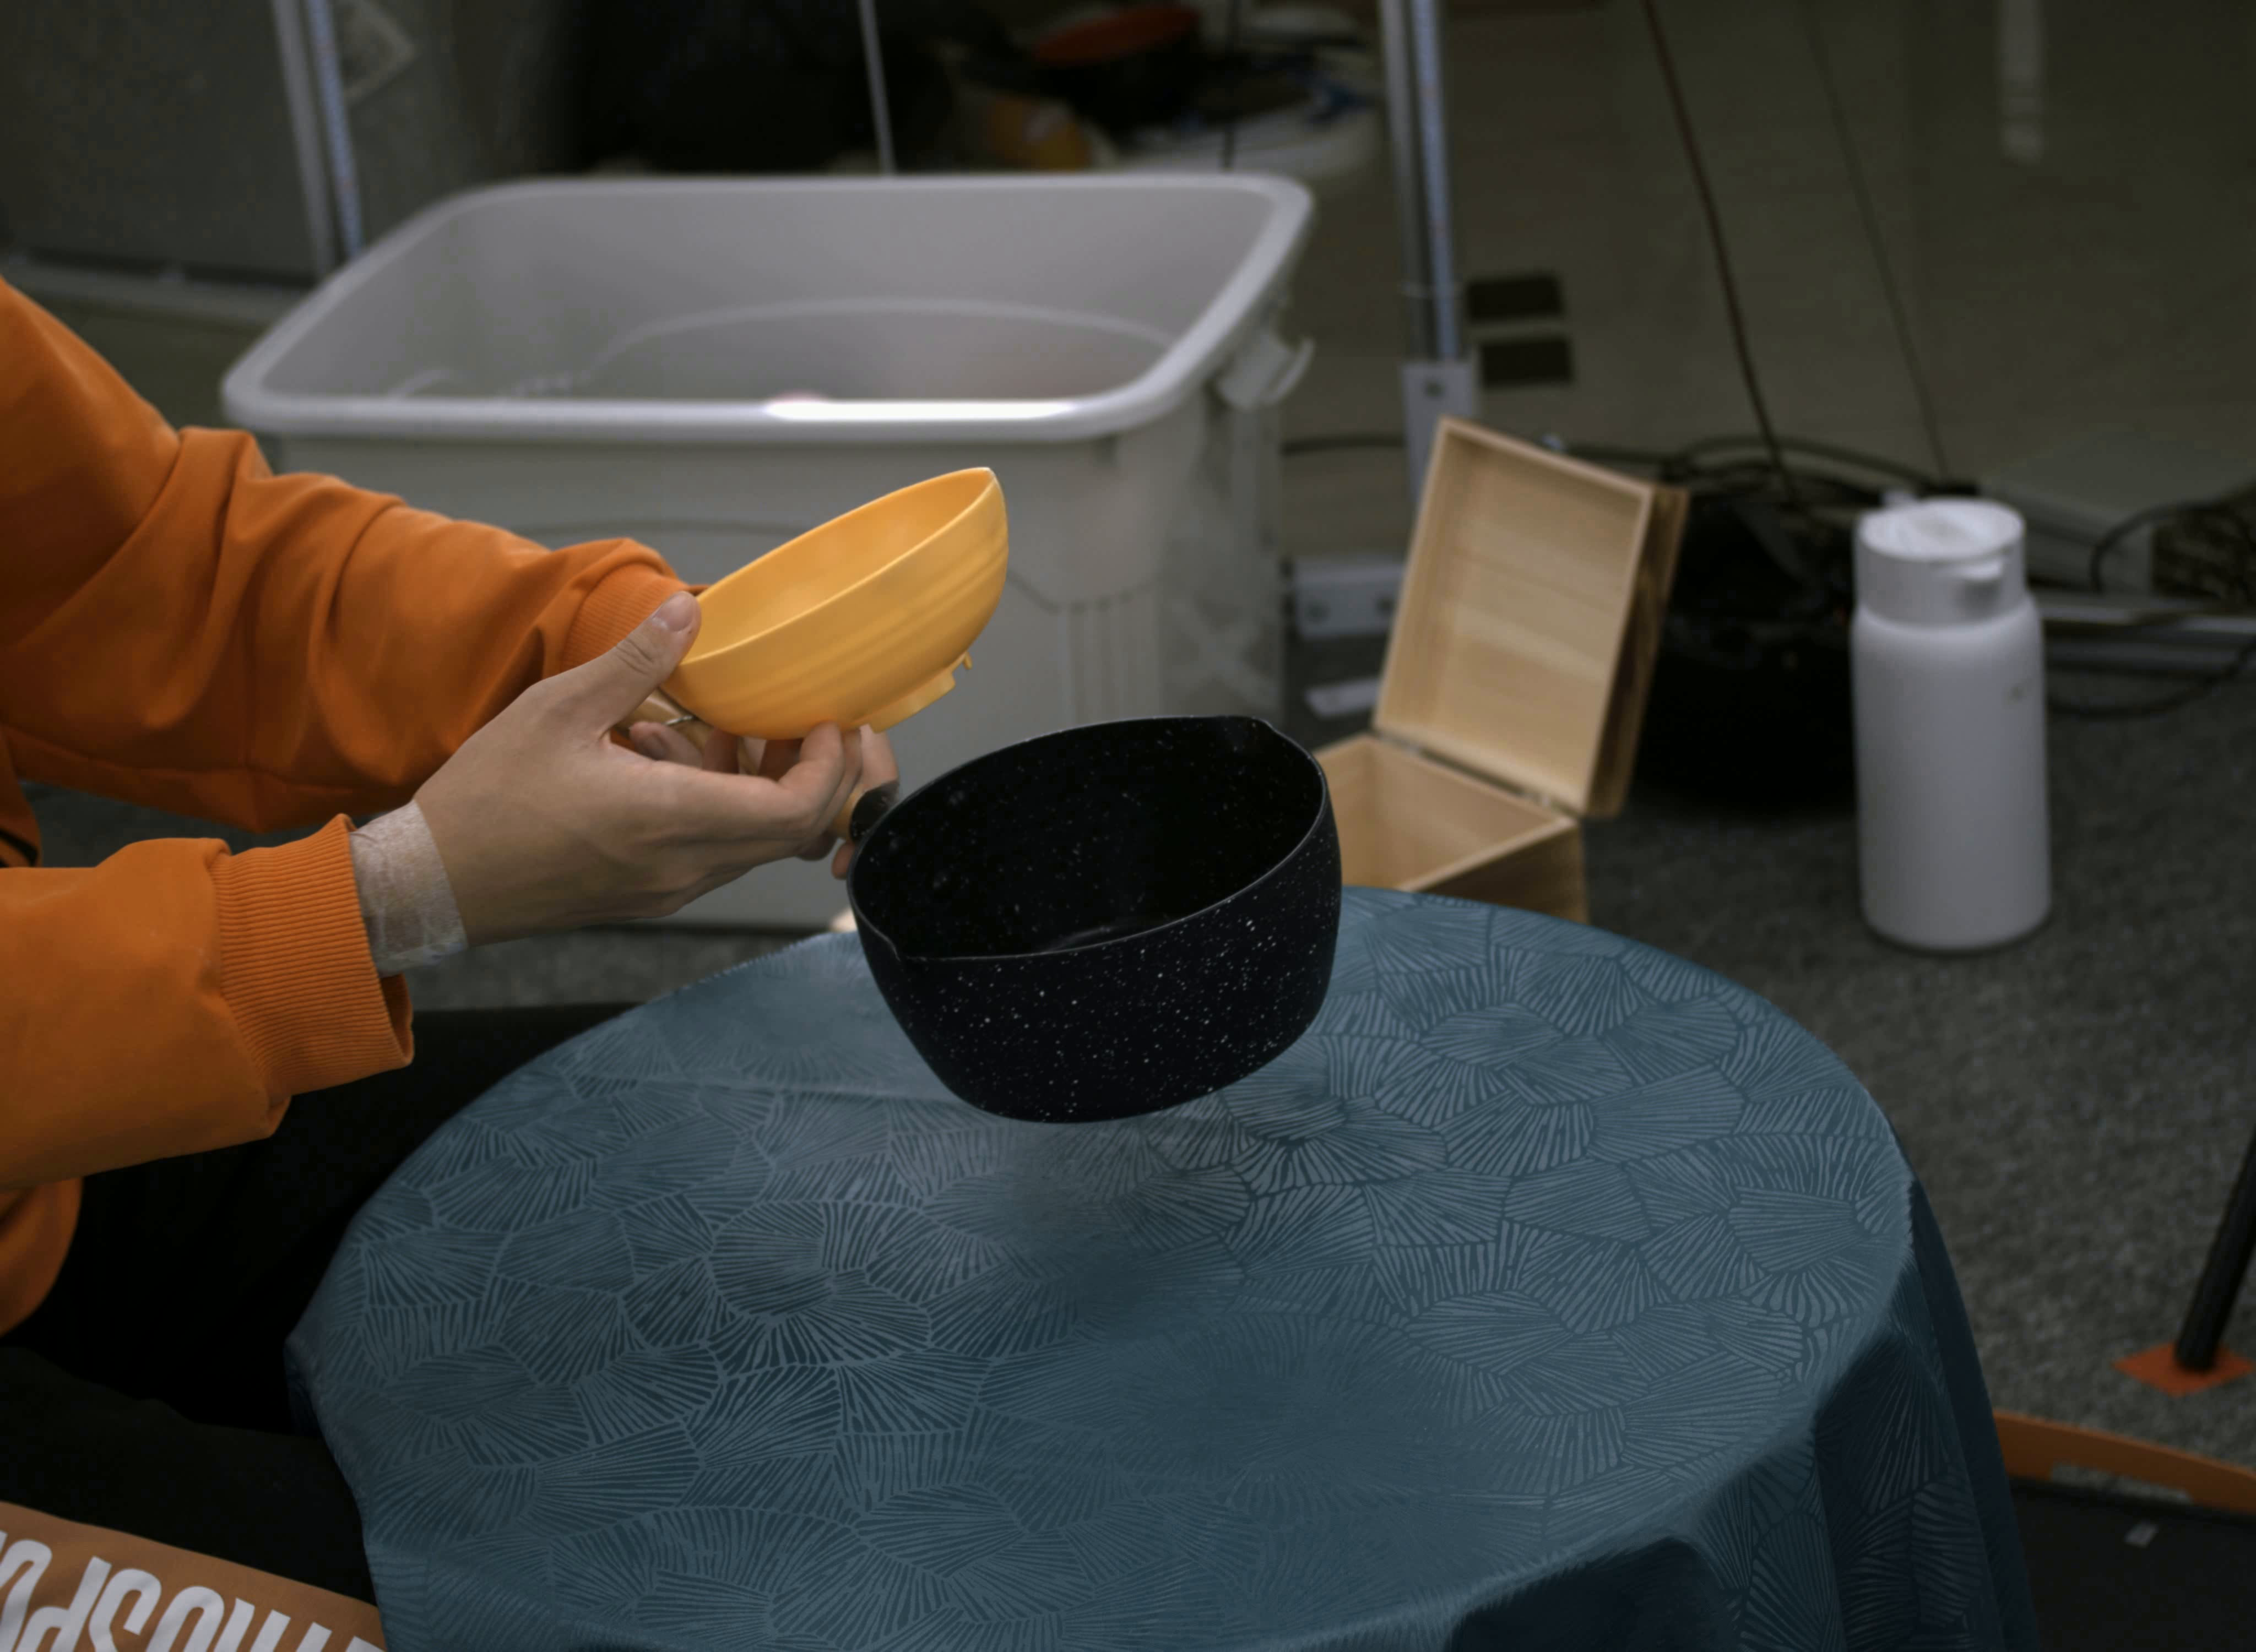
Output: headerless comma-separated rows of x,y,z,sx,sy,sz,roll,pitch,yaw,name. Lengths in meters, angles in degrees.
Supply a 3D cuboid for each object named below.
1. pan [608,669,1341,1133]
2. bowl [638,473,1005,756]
-0.070,0.017,2.171,0.341,0.110,0.205,13,39,39,pan
-0.099,-0.067,2.019,0.145,0.060,0.144,-27,12,7,bowl
